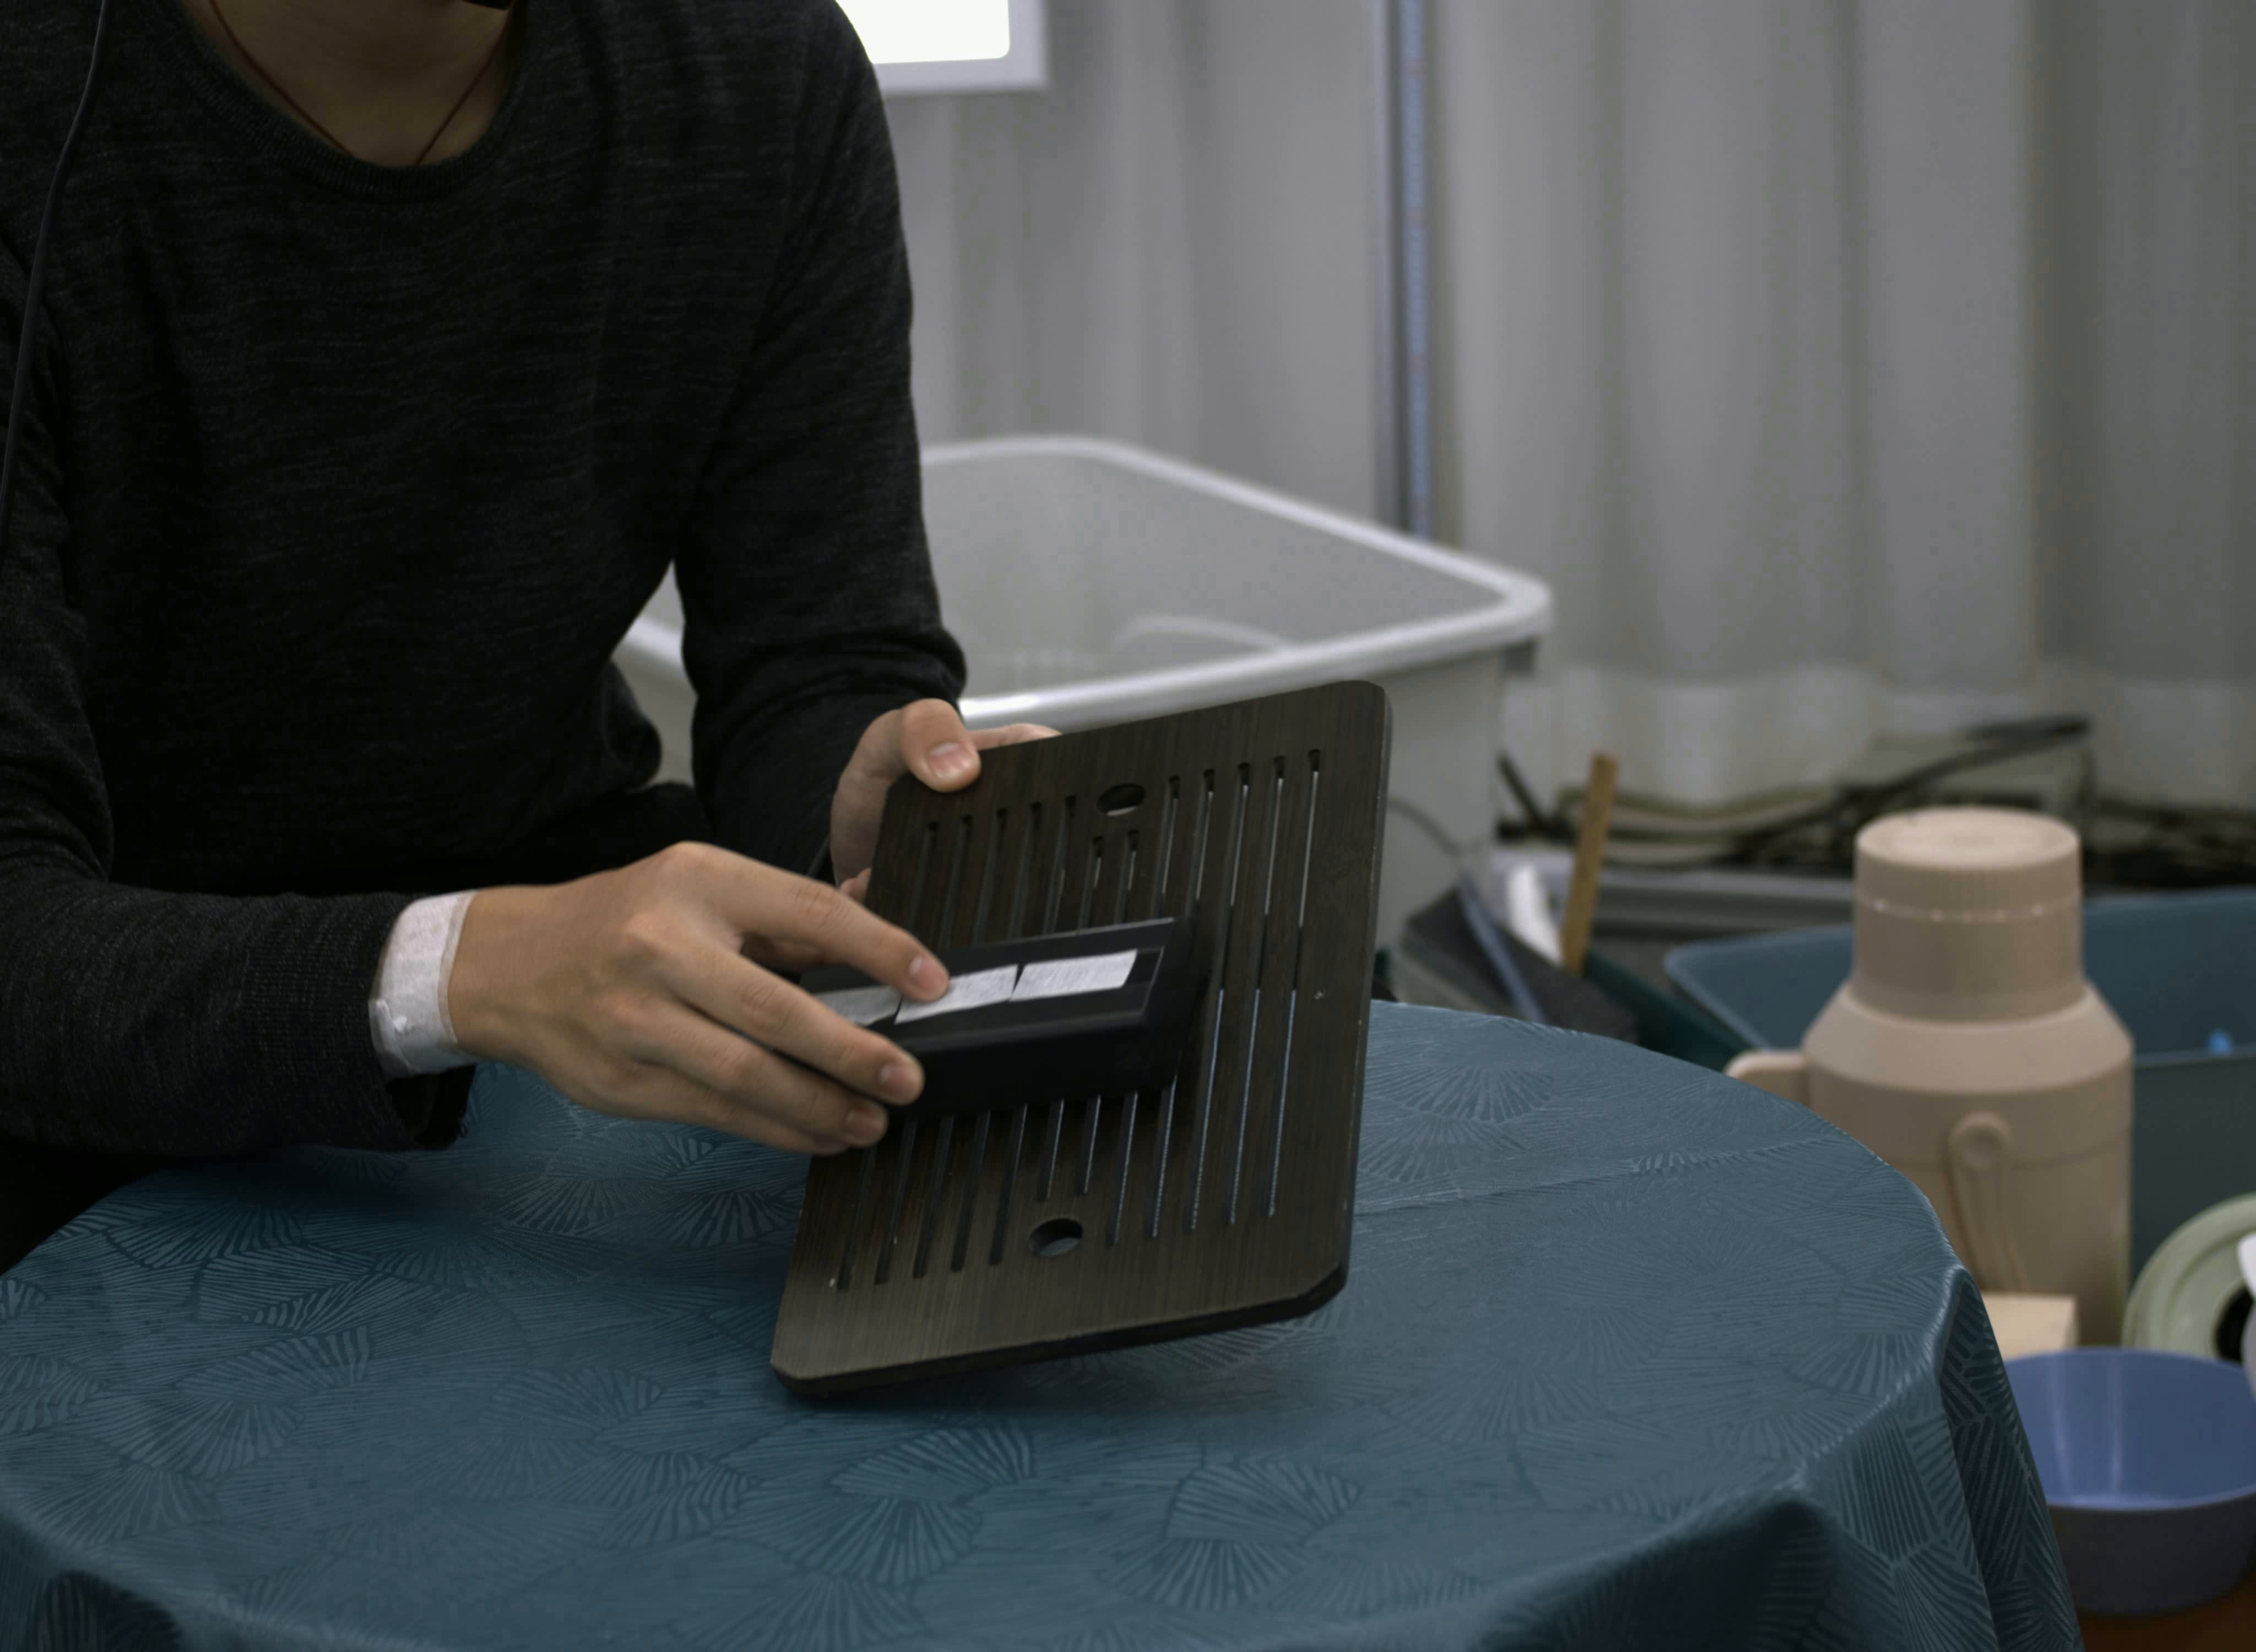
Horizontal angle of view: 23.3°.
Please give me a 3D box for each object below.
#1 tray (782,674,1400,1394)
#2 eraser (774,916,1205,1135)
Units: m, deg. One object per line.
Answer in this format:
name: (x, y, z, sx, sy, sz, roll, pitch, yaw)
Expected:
tray: (-0.004, 0.059, 1.649, 0.170, 0.018, 0.310, -11, 33, 13)
eraser: (-0.040, 0.059, 1.629, 0.125, 0.030, 0.054, -10, 31, 18)
